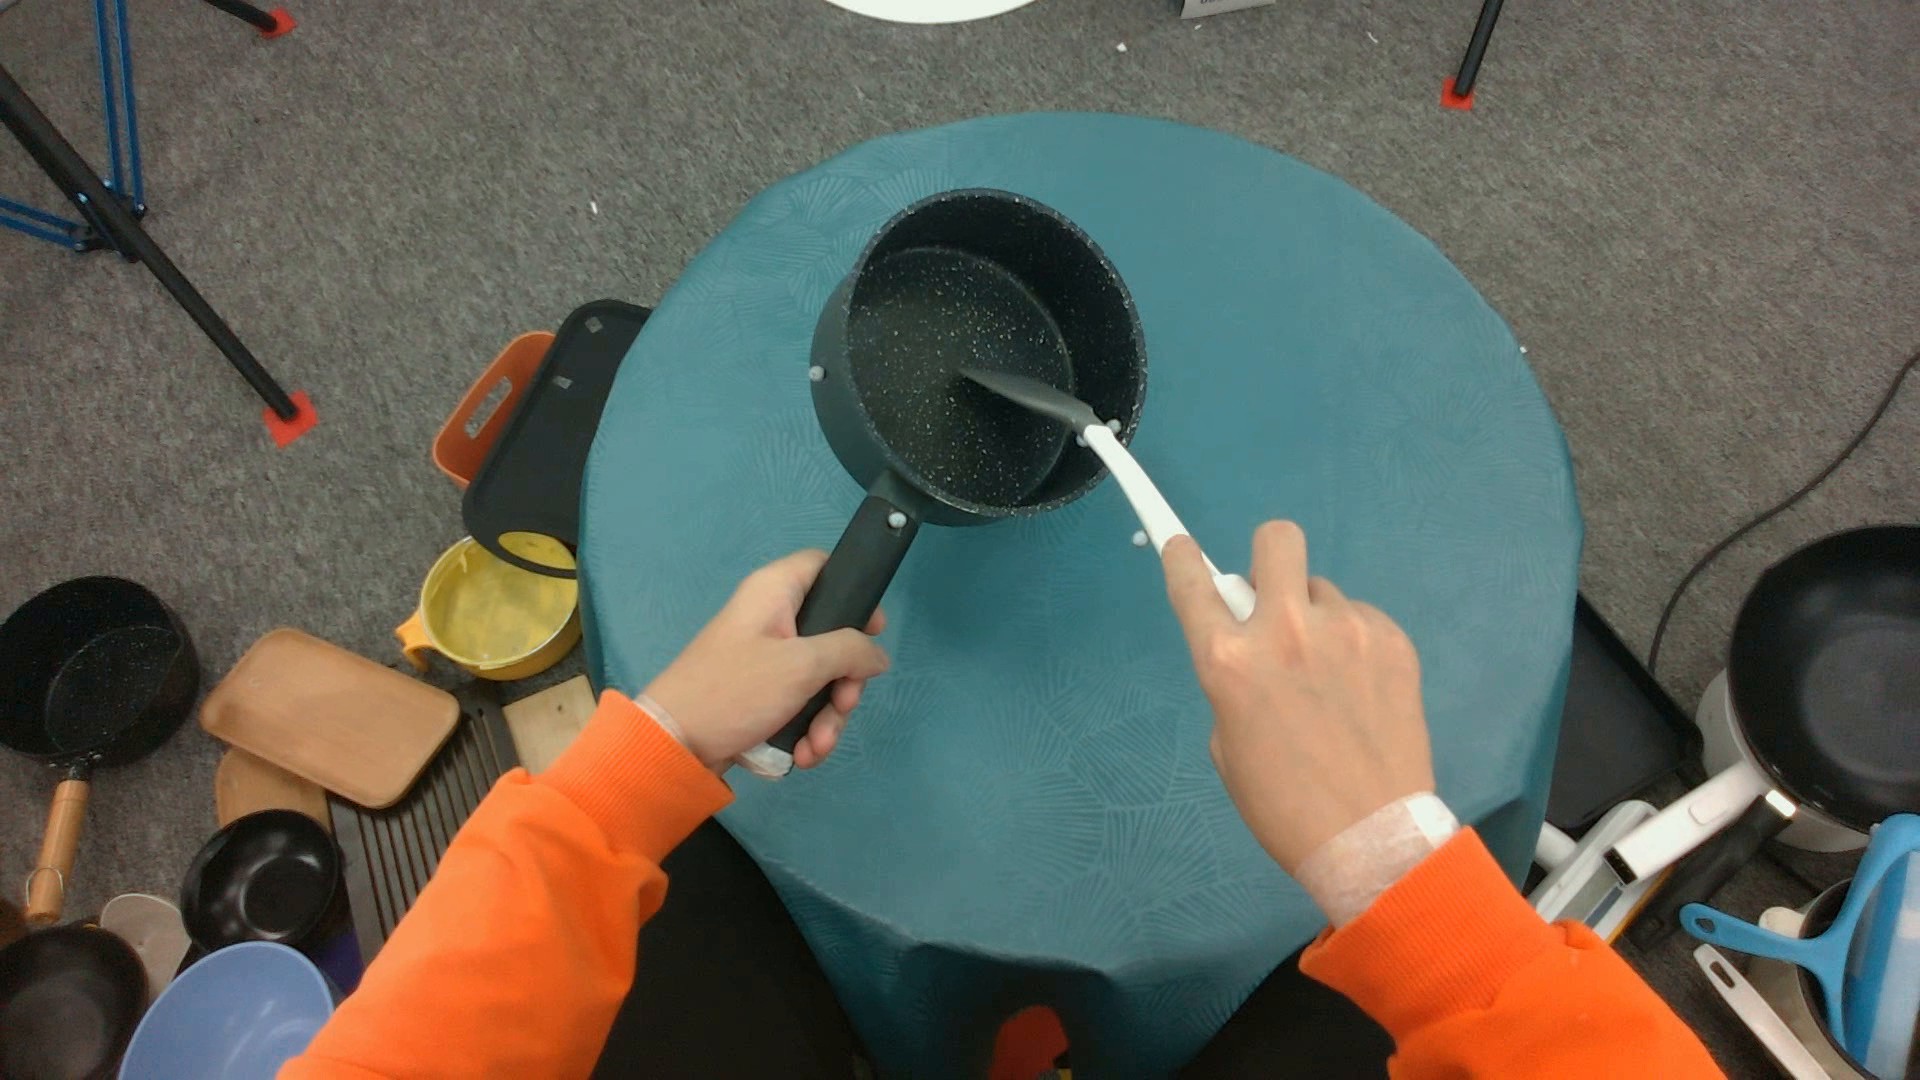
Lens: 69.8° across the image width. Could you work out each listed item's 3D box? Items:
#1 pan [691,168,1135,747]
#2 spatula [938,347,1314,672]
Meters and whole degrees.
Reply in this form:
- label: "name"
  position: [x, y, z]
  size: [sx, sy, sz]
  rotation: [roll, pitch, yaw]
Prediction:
- label: "pan"
  position: [-0.038, -0.038, 0.701]
  size: [0.172, 0.086, 0.330]
  rotation: [37, 68, -13]
- label: "spatula"
  position: [0.072, -0.035, 0.669]
  size: [0.059, 0.032, 0.288]
  rotation: [0, 33, -30]
